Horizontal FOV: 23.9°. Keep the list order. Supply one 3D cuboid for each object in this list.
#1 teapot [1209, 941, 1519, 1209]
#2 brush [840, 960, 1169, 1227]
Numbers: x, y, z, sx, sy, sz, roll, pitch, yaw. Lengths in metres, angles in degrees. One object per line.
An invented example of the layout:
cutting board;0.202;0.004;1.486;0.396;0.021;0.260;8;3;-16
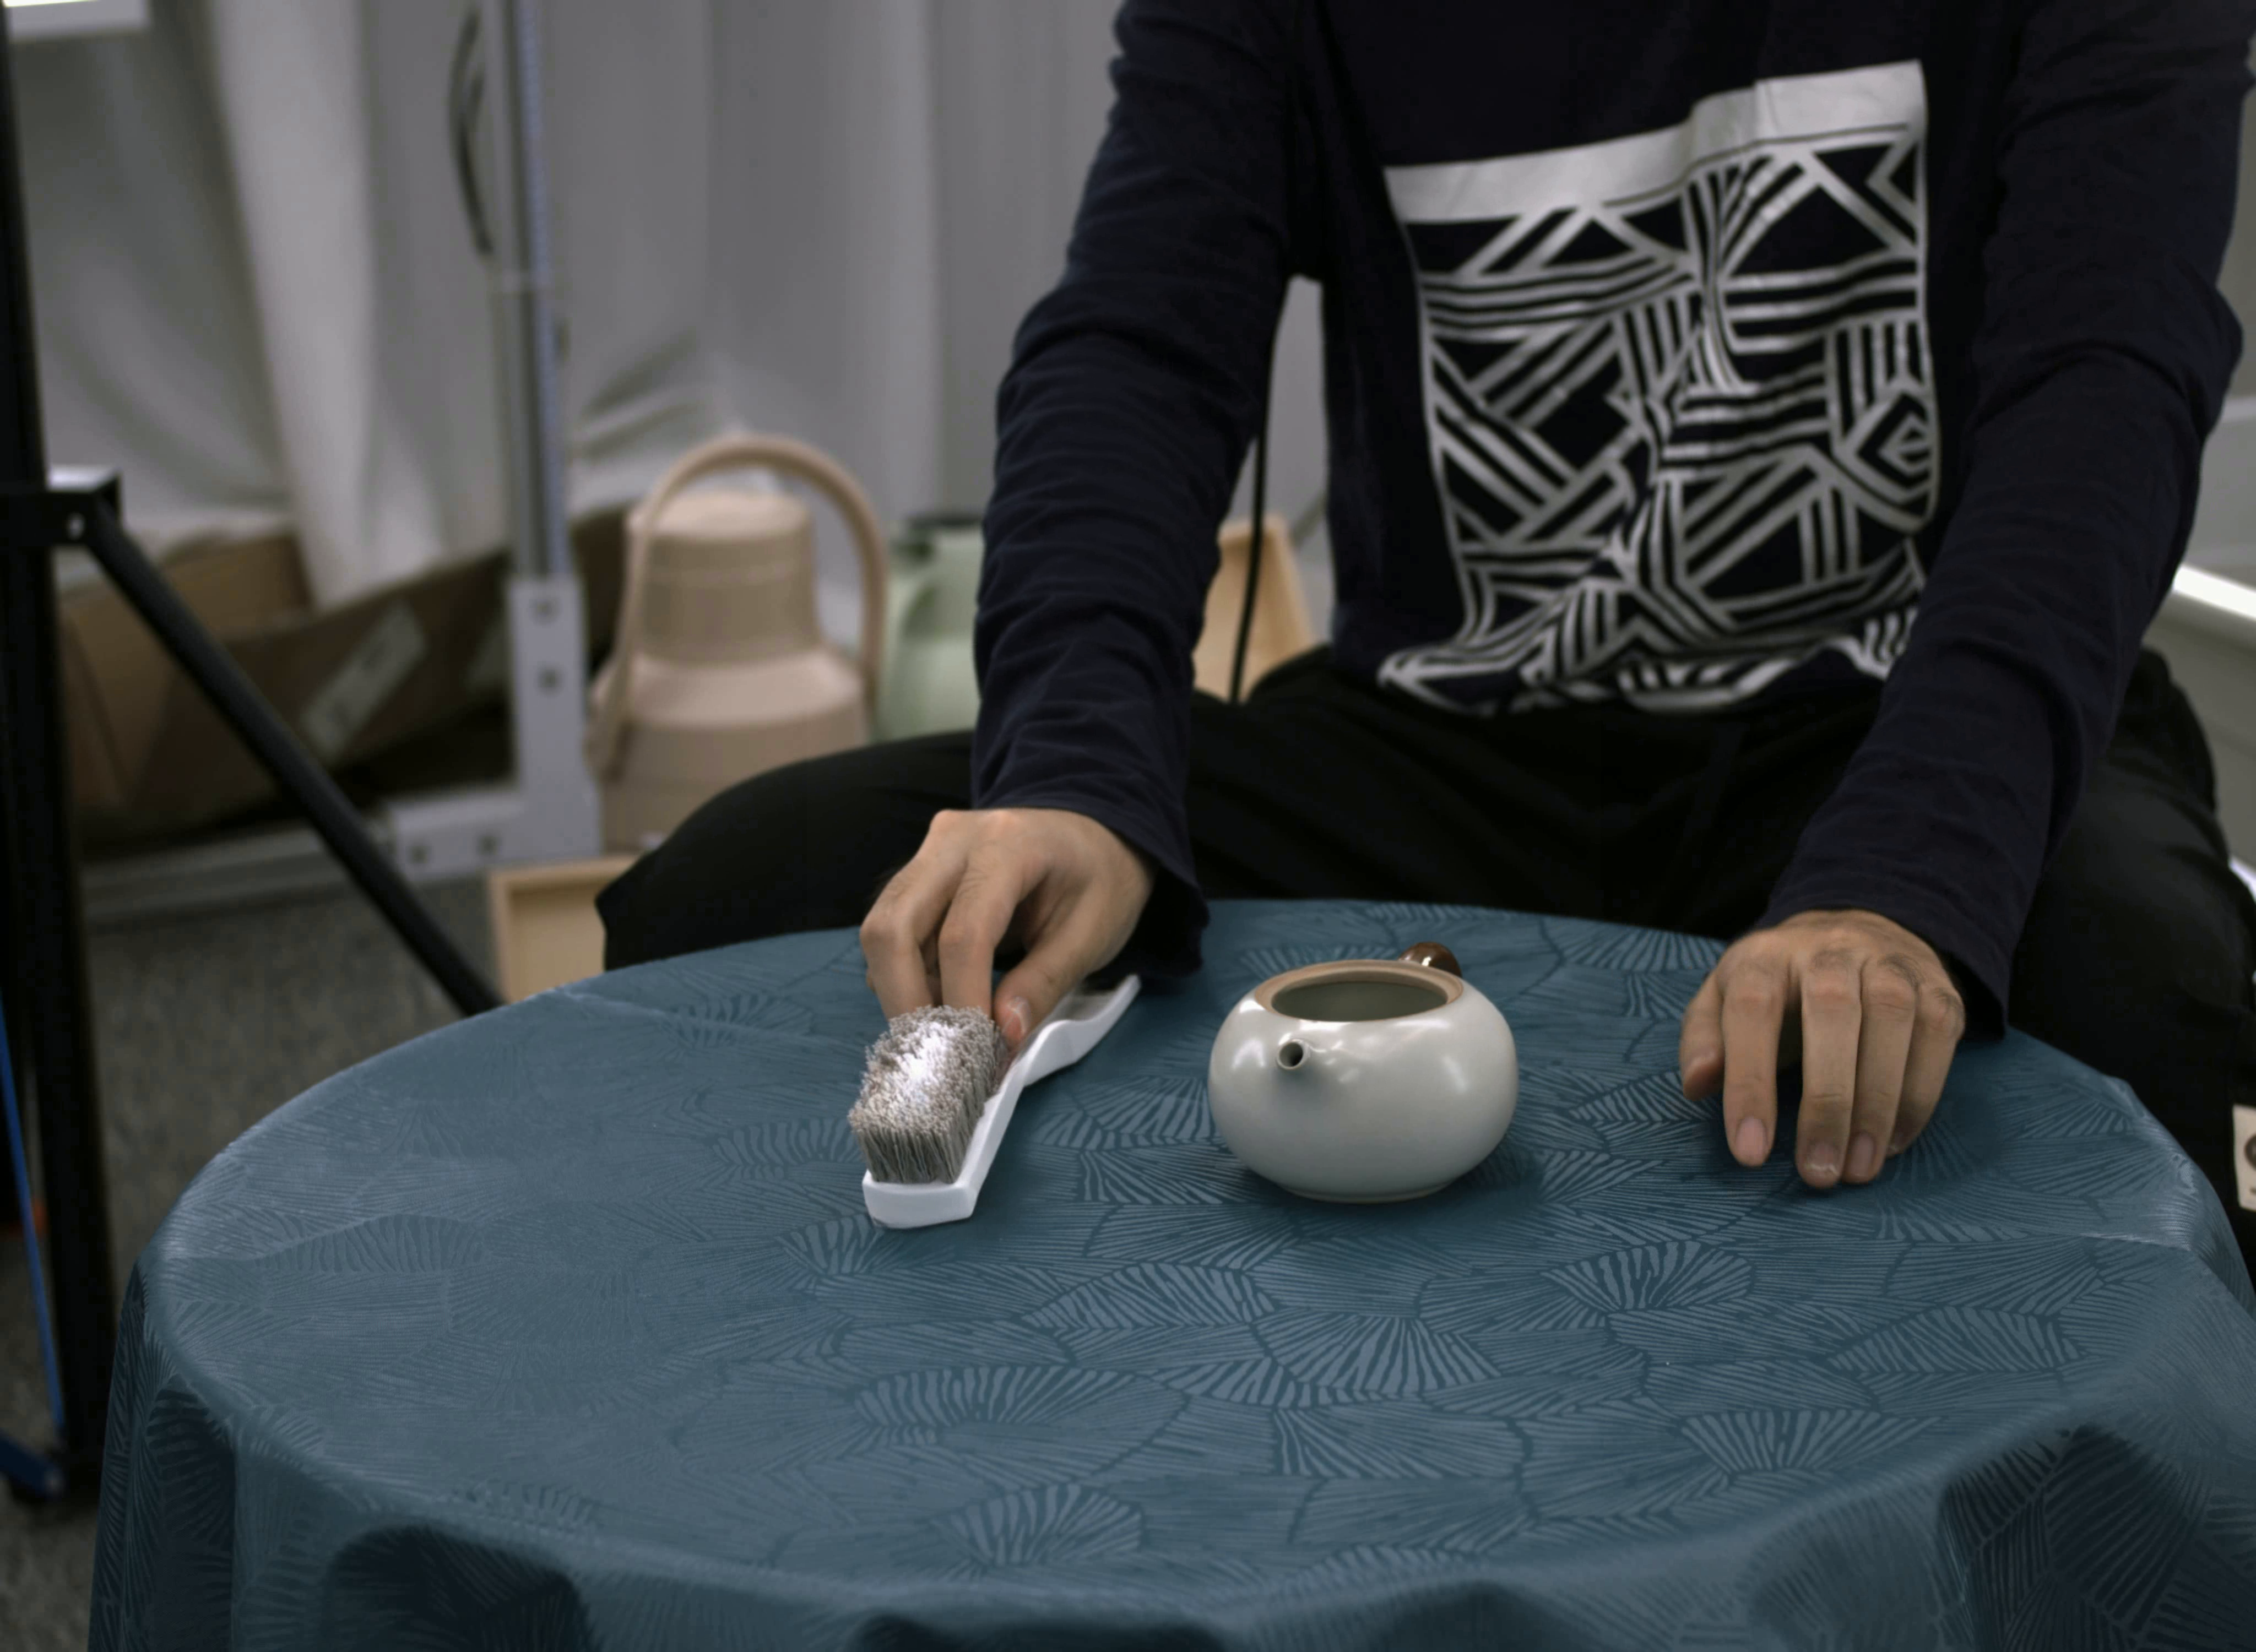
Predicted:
teapot;0.073;0.073;1.568;0.093;0.059;0.126;1;17;24
brush;-0.034;0.062;1.638;0.035;0.050;0.241;-4;15;20
